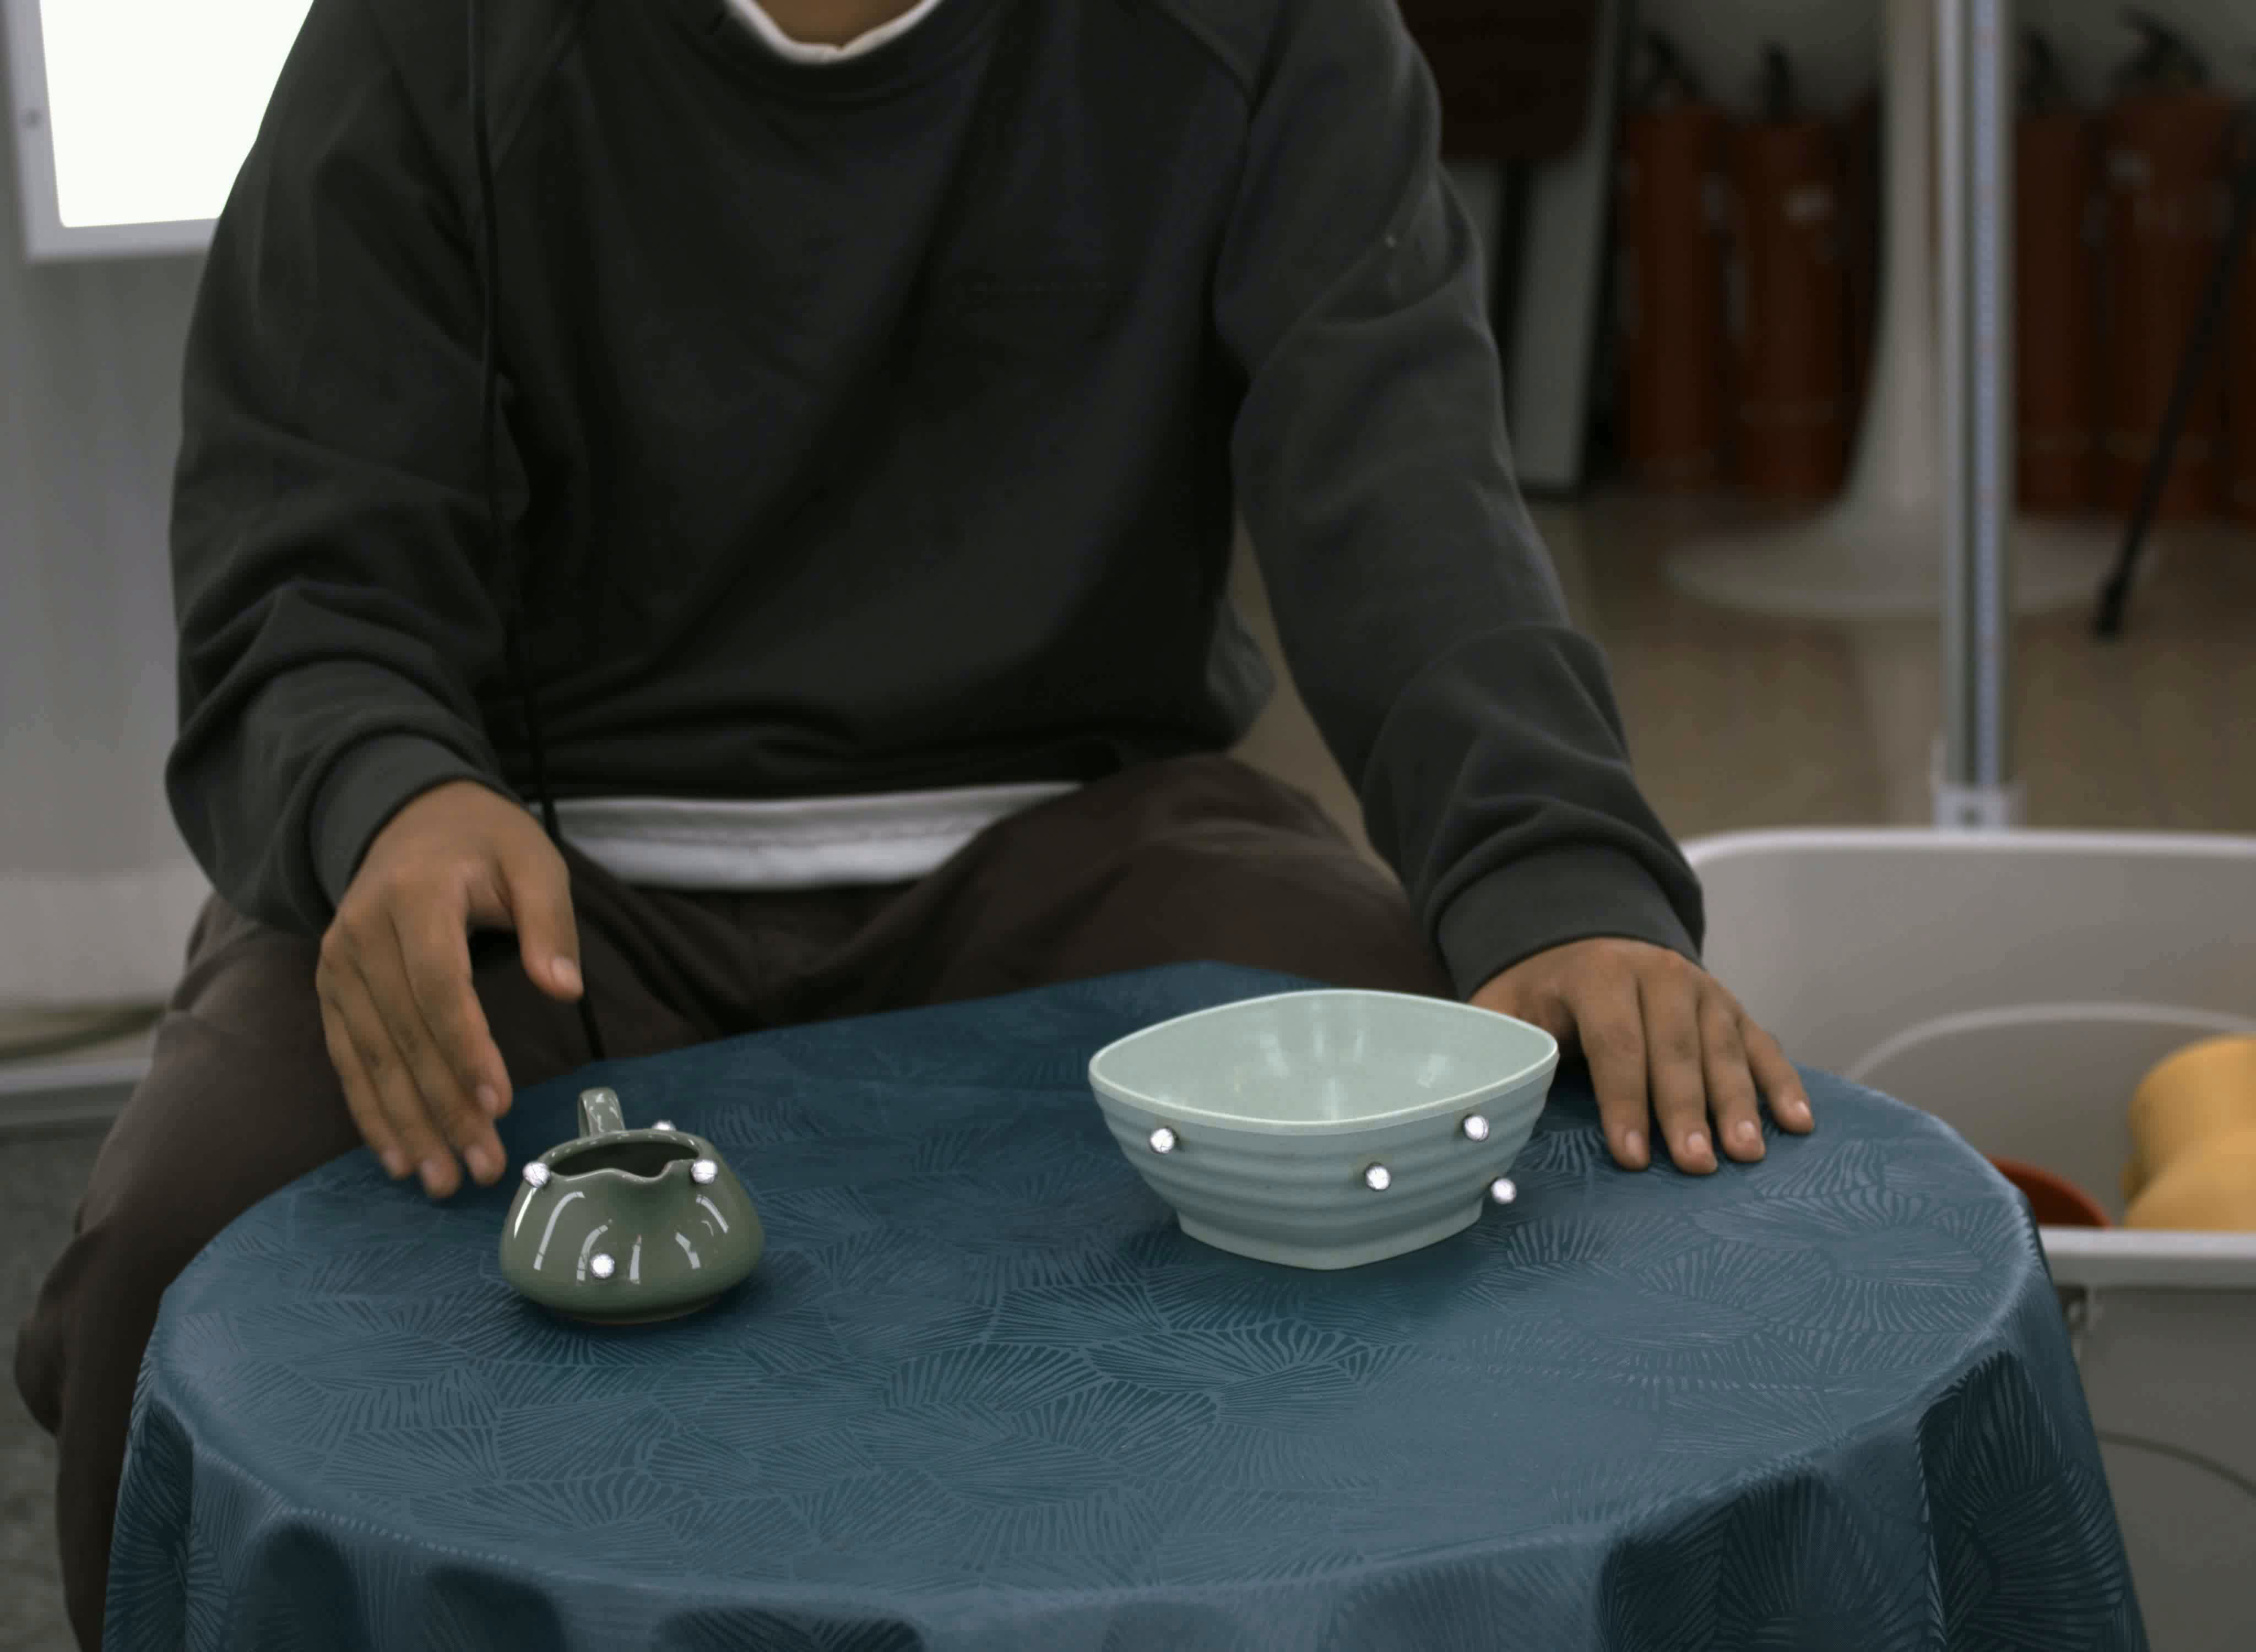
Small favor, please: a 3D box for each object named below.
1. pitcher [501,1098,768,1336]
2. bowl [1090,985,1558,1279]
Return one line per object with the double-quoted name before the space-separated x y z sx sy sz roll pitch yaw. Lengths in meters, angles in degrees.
"pitcher" -0.157 0.123 1.698 0.082 0.057 0.113 -7 13 -15
"bowl" 0.064 0.101 1.724 0.149 0.059 0.152 -3 15 0
